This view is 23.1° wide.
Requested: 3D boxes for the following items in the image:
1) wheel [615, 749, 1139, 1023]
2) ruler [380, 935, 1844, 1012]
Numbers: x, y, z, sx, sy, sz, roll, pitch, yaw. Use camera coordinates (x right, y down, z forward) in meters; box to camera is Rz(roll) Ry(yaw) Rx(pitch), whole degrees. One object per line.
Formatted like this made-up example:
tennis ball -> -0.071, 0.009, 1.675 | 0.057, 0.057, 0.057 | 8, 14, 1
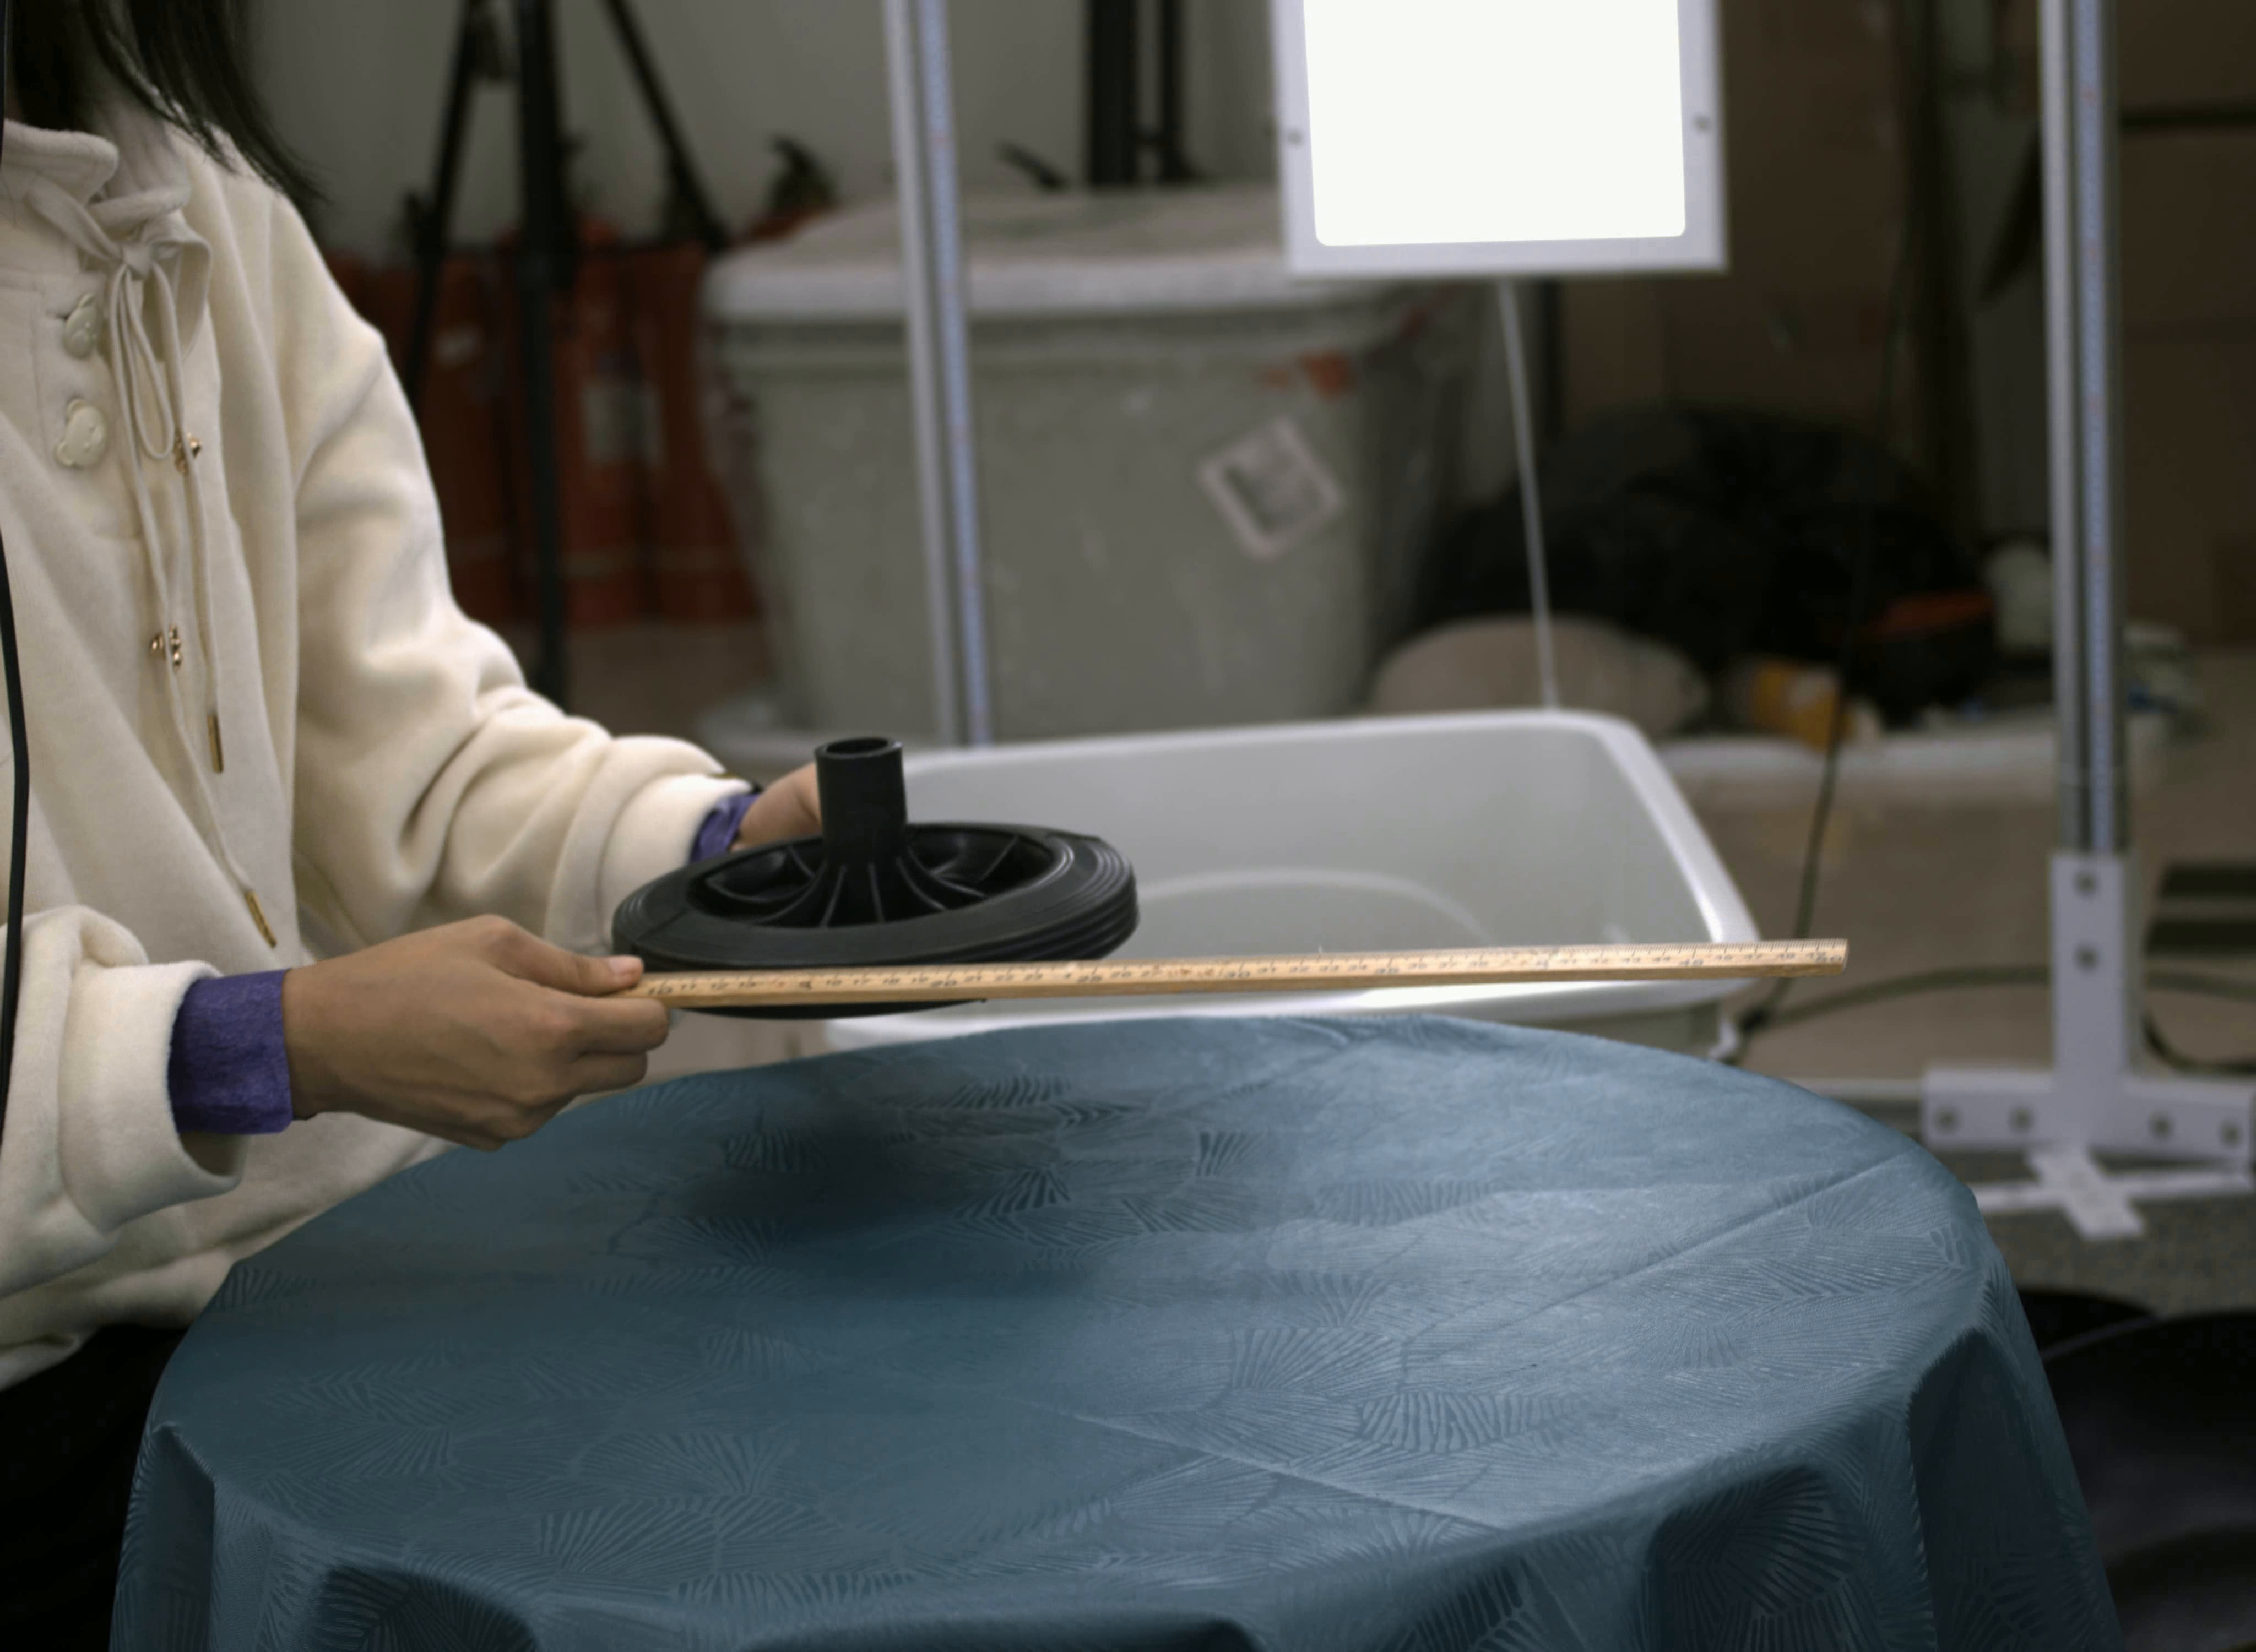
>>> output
wheel -> -0.091, 0.014, 1.955 | 0.188, 0.079, 0.188 | -3, 14, 11
ruler -> -0.012, 0.049, 1.830 | 0.505, 0.006, 0.026 | -2, 18, 16
